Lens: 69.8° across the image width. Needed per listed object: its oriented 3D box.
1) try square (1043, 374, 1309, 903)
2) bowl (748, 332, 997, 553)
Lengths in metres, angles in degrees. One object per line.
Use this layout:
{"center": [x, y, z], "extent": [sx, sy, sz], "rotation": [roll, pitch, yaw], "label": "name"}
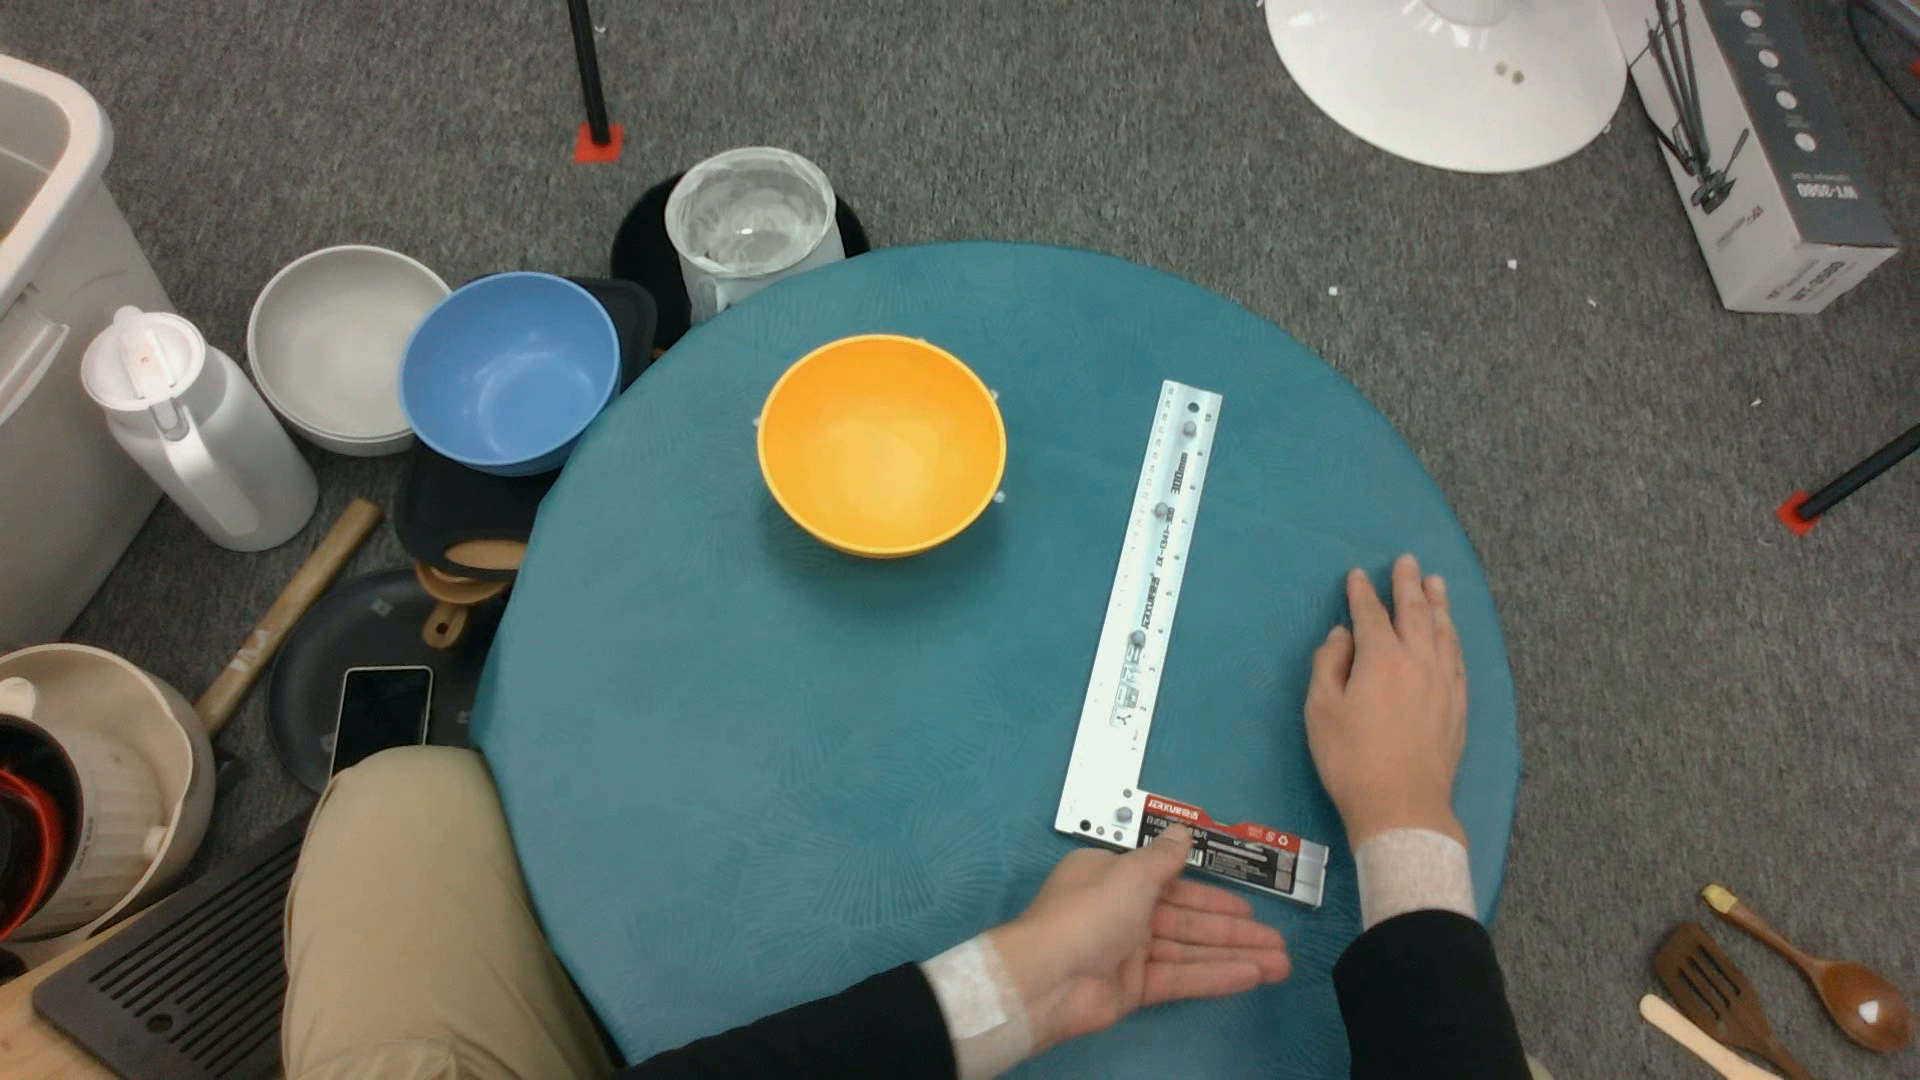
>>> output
{"center": [0.156, 0.047, 0.834], "extent": [0.152, 0.016, 0.314], "rotation": [18, 63, -2], "label": "try square"}
{"center": [-0.052, -0.049, 0.826], "extent": [0.145, 0.060, 0.146], "rotation": [1, 66, -3], "label": "bowl"}
